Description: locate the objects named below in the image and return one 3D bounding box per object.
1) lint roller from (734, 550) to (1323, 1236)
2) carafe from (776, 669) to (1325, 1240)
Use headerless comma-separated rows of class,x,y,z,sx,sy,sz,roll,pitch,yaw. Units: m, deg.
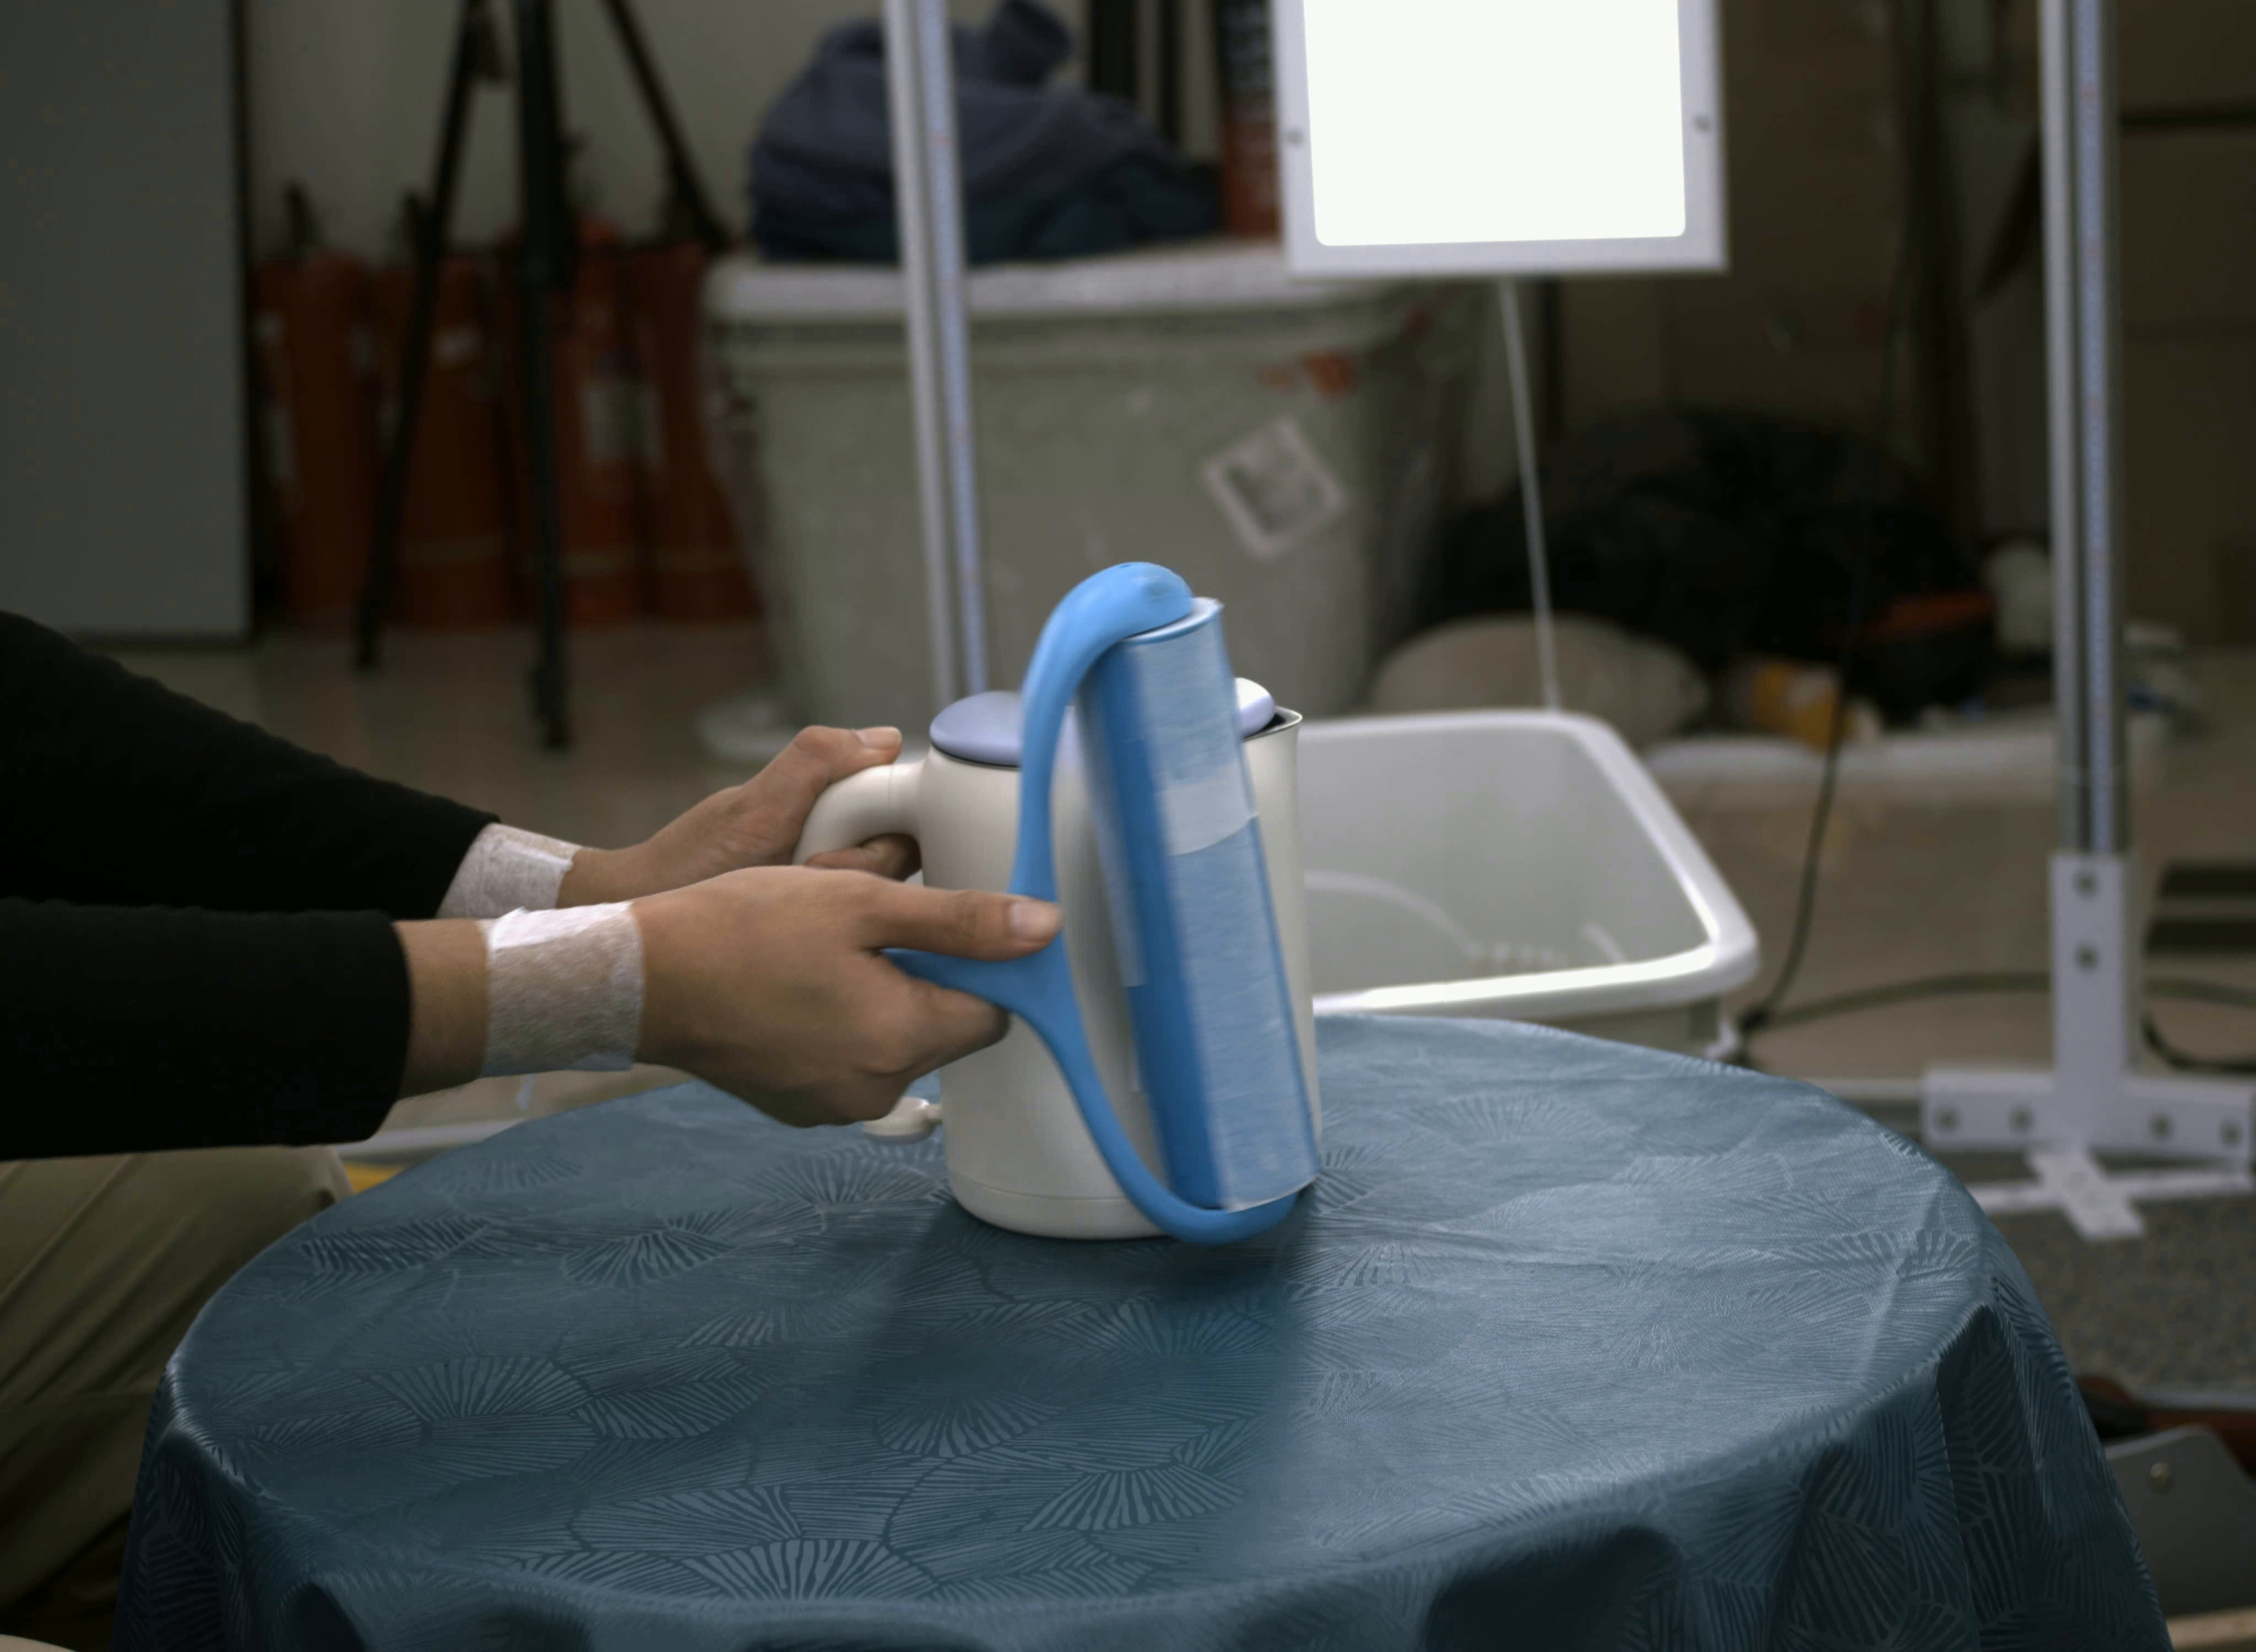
lint roller,-0.035,0.037,1.782,0.179,0.229,0.068,-14,16,-7
carafe,-0.027,0.043,1.886,0.192,0.183,0.131,-5,13,9
